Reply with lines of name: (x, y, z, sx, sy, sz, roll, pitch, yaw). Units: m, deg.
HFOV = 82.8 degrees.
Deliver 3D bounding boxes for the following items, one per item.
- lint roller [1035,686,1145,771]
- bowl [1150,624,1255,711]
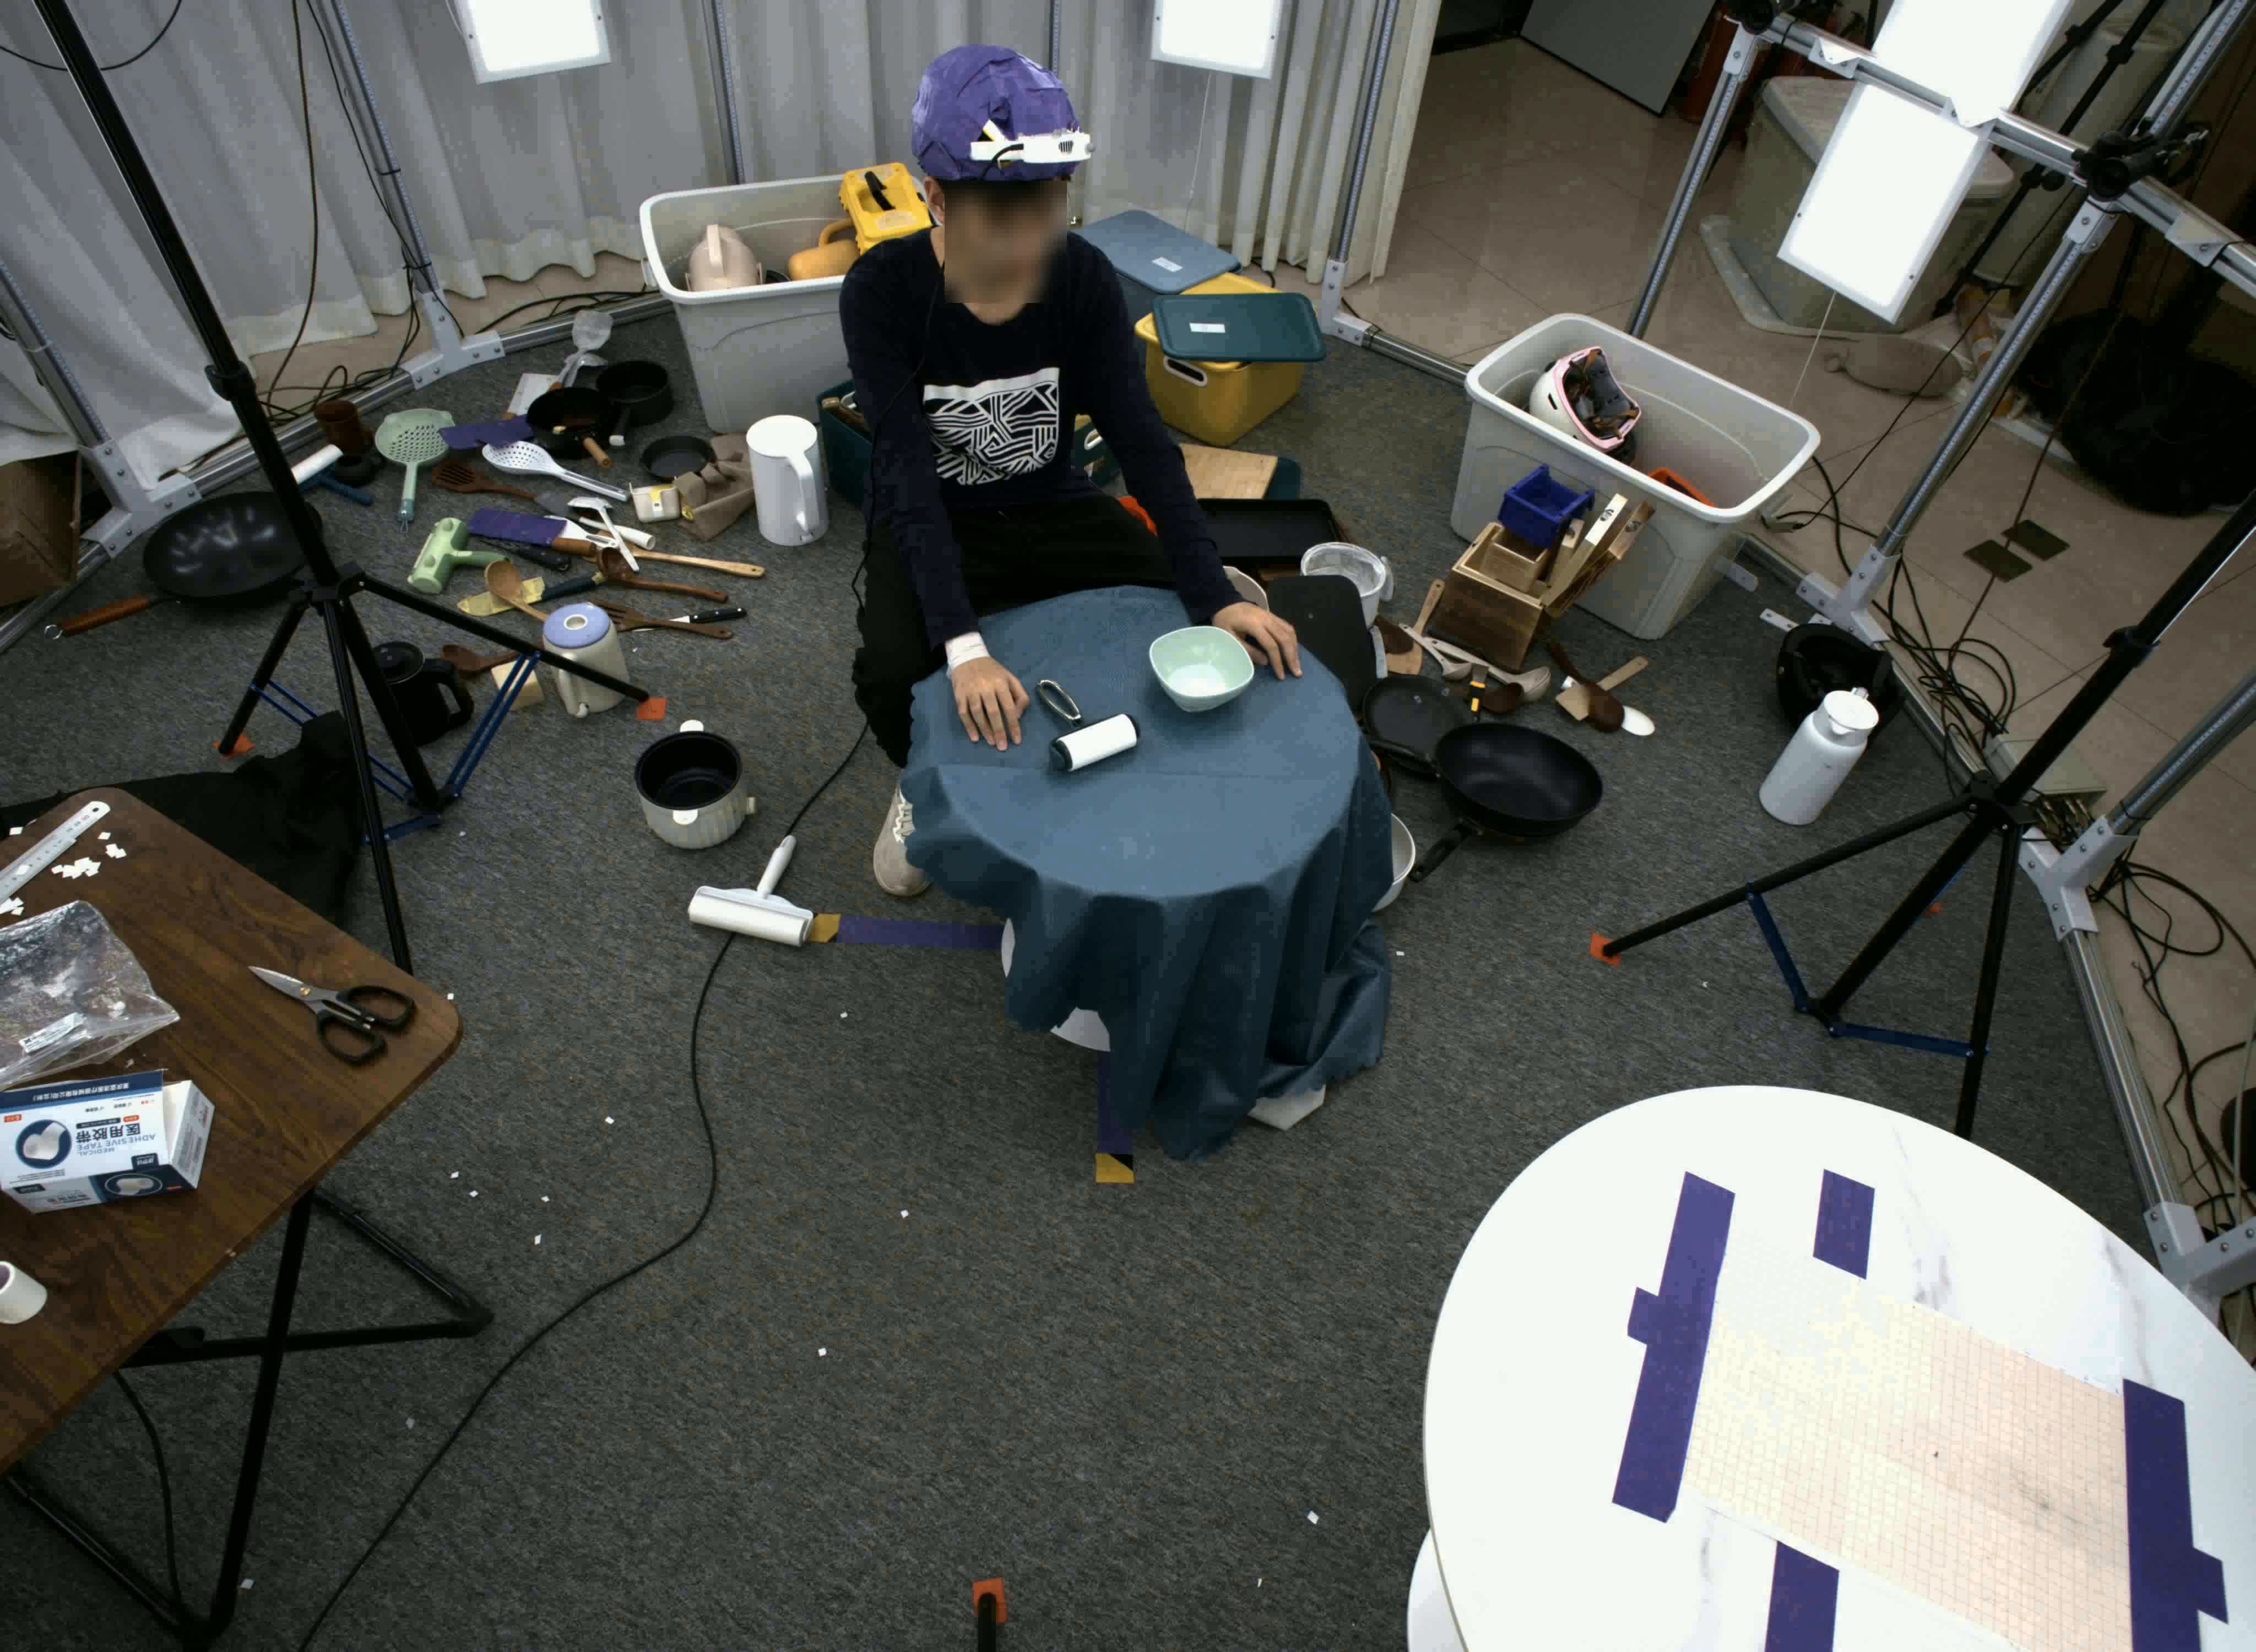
lint roller: (-0.078, -0.156, 1.772, 0.135, 0.047, 0.184, -23, 51, -22)
bowl: (0.103, -0.217, 1.825, 0.151, 0.057, 0.155, 2, 52, -2)
